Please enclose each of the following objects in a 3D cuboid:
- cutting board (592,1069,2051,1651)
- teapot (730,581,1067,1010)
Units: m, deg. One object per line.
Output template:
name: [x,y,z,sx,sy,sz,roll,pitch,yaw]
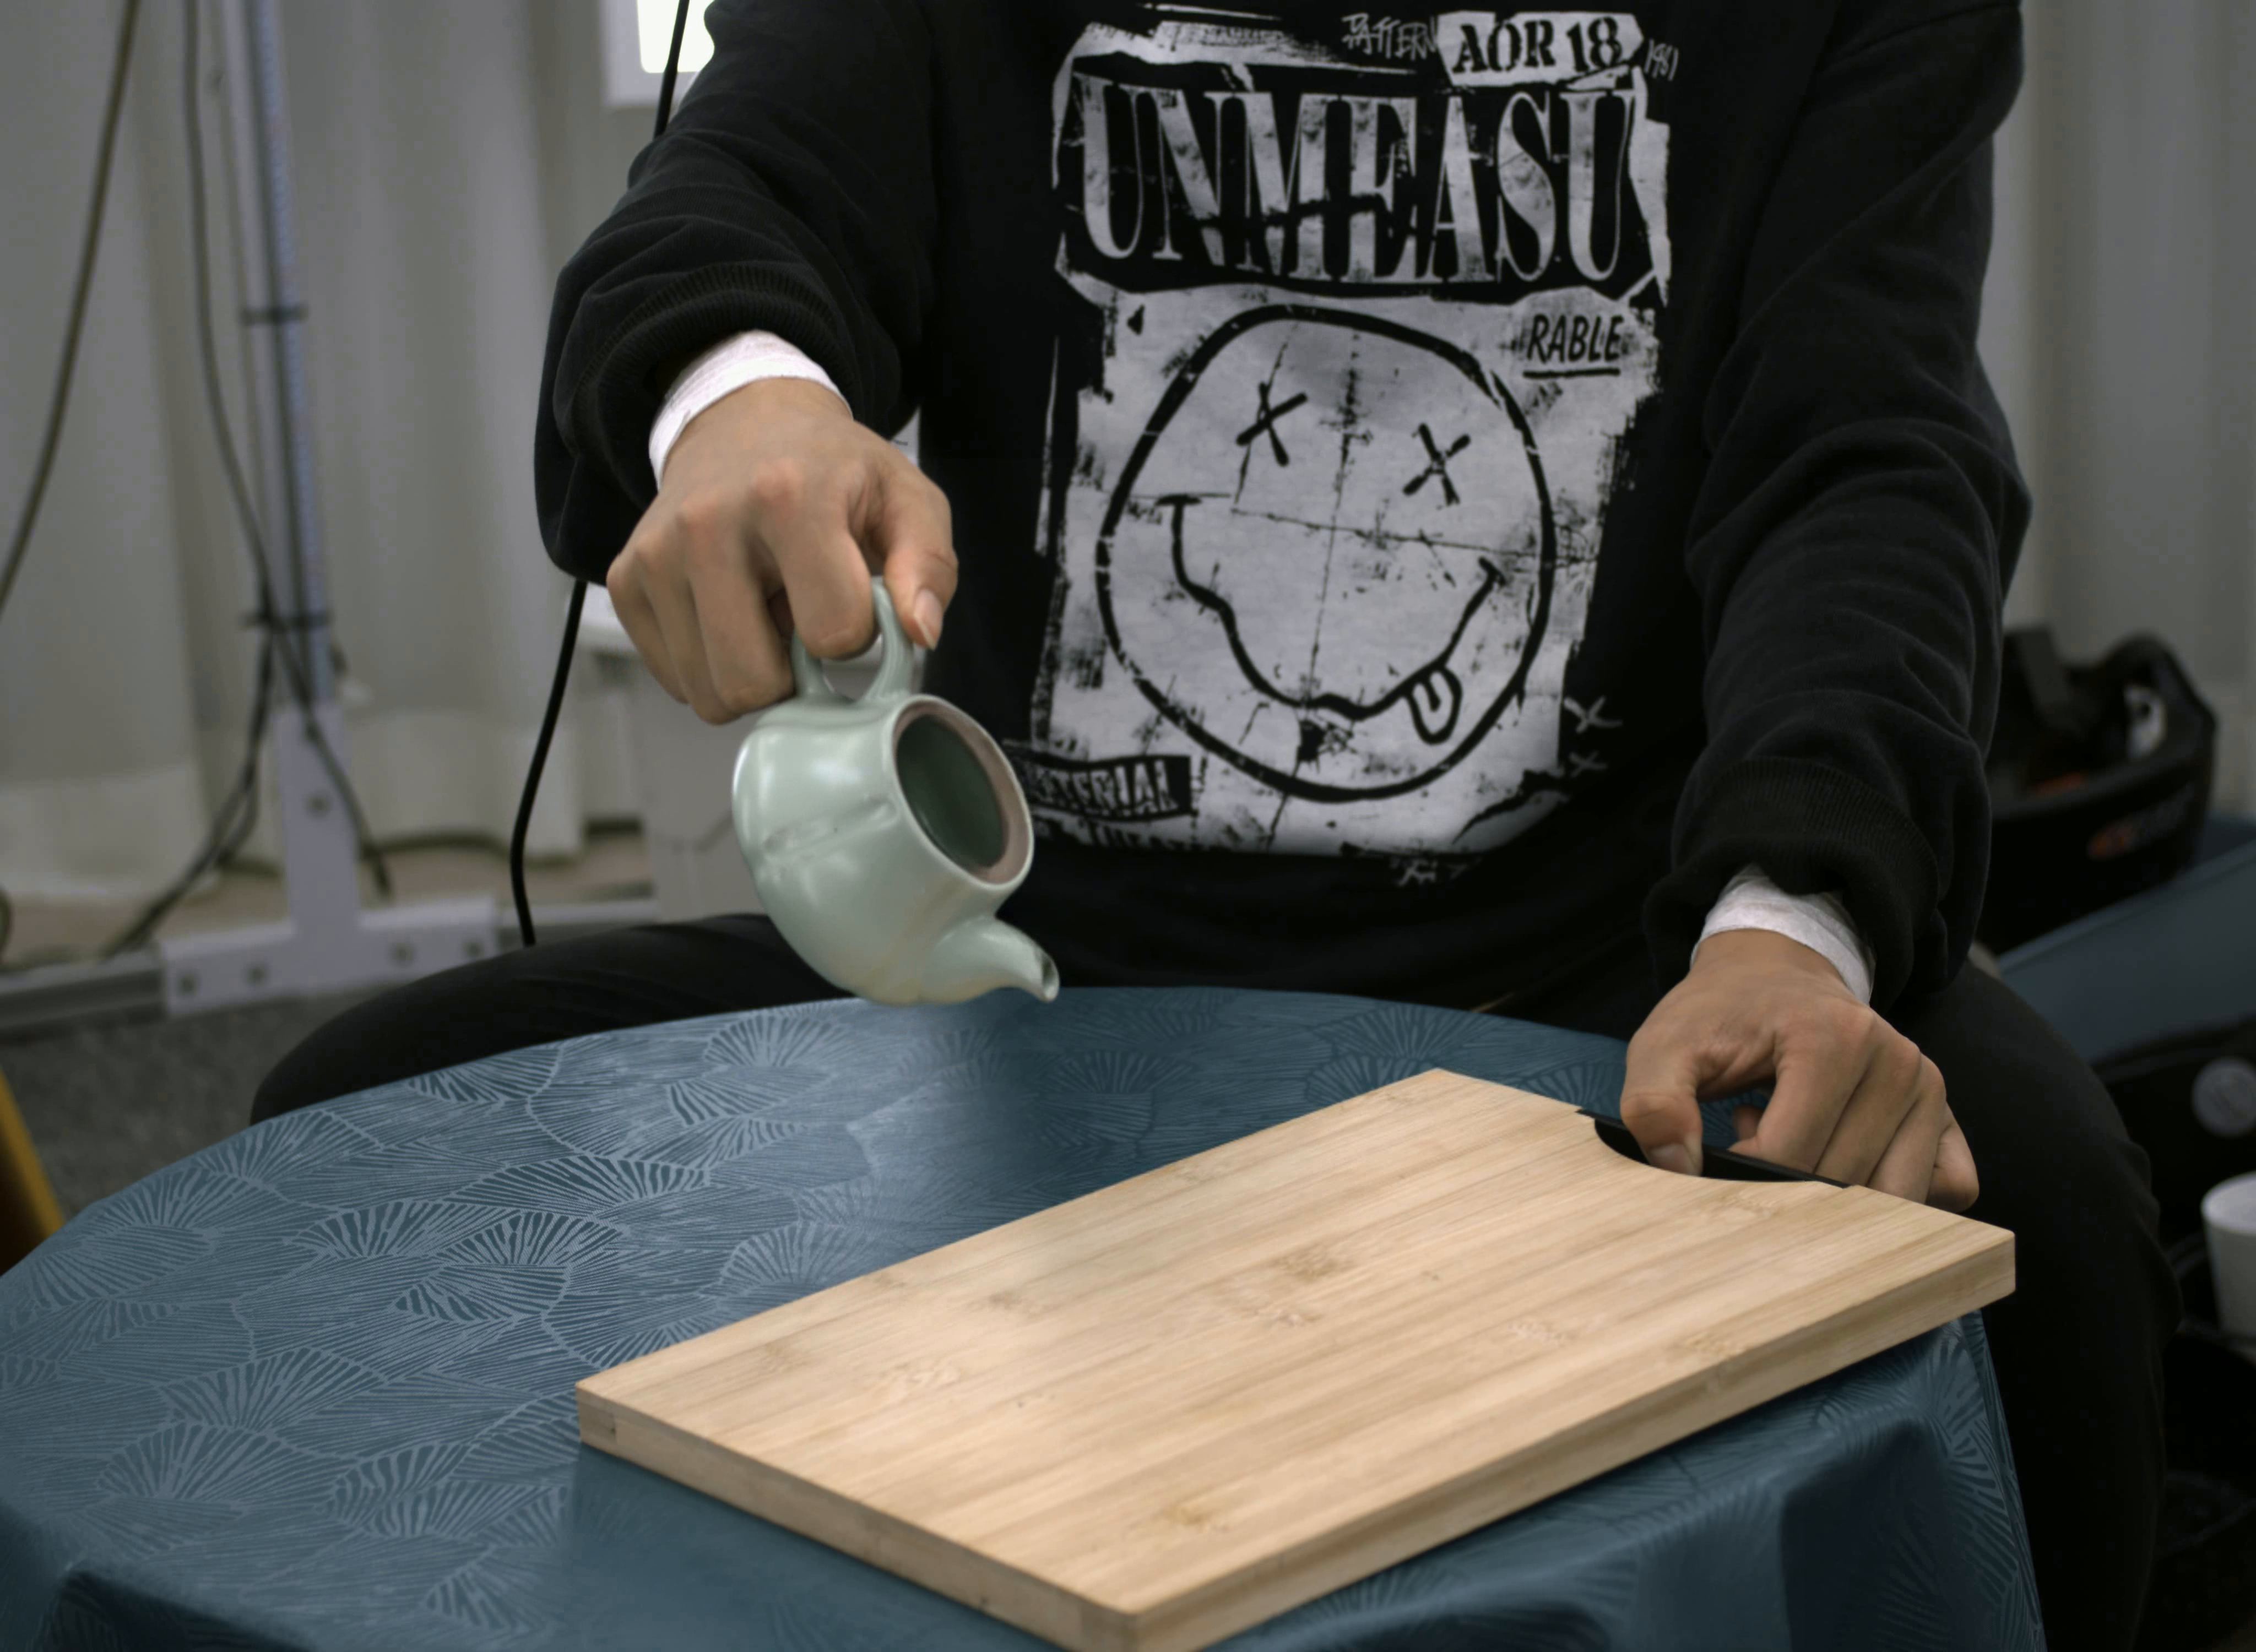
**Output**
cutting board: [0.054,0.144,1.545,0.348,0.023,0.252,-17,21,-39]
teapot: [-0.069,-0.002,1.559,0.061,0.138,0.096,-30,-9,31]
